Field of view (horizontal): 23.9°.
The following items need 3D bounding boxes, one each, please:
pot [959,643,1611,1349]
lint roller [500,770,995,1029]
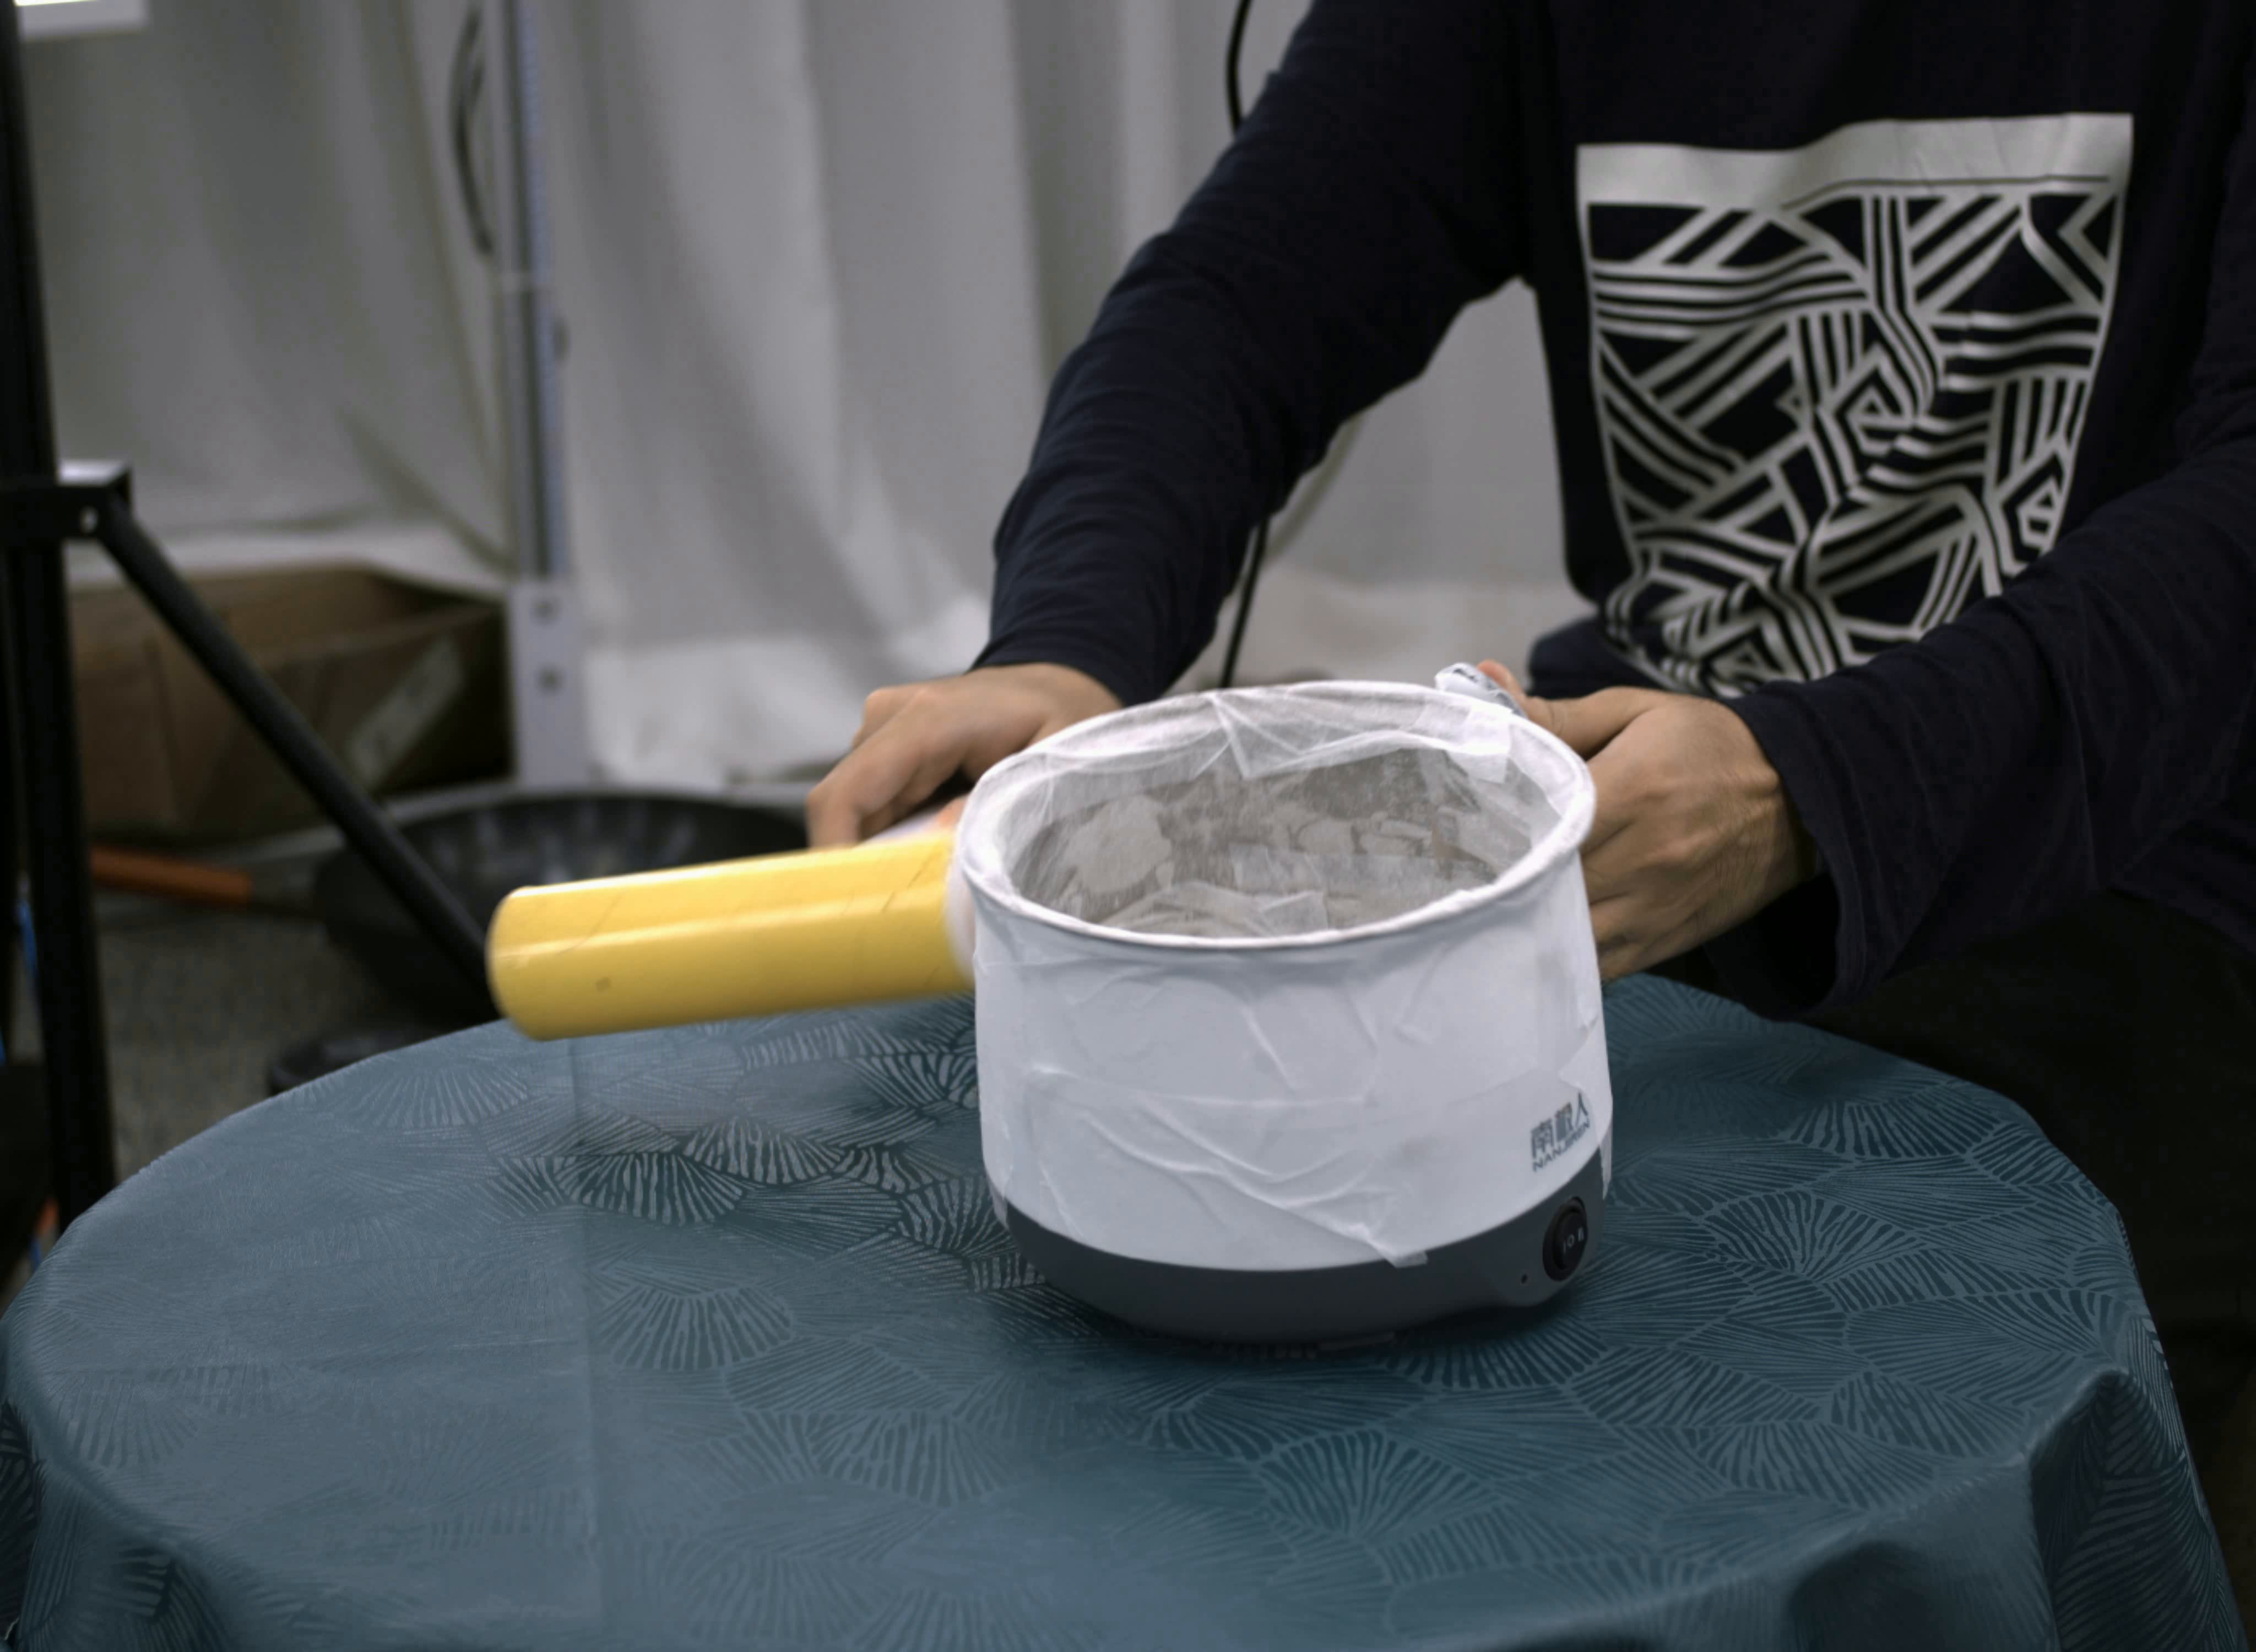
[{"bbox_3d":[0.060,0.038,1.487,0.182,0.136,0.230,14,32,31],"label":"pot"},{"bbox_3d":[-0.082,0.003,1.647,0.177,0.051,0.190,-10,18,27],"label":"lint roller"}]
